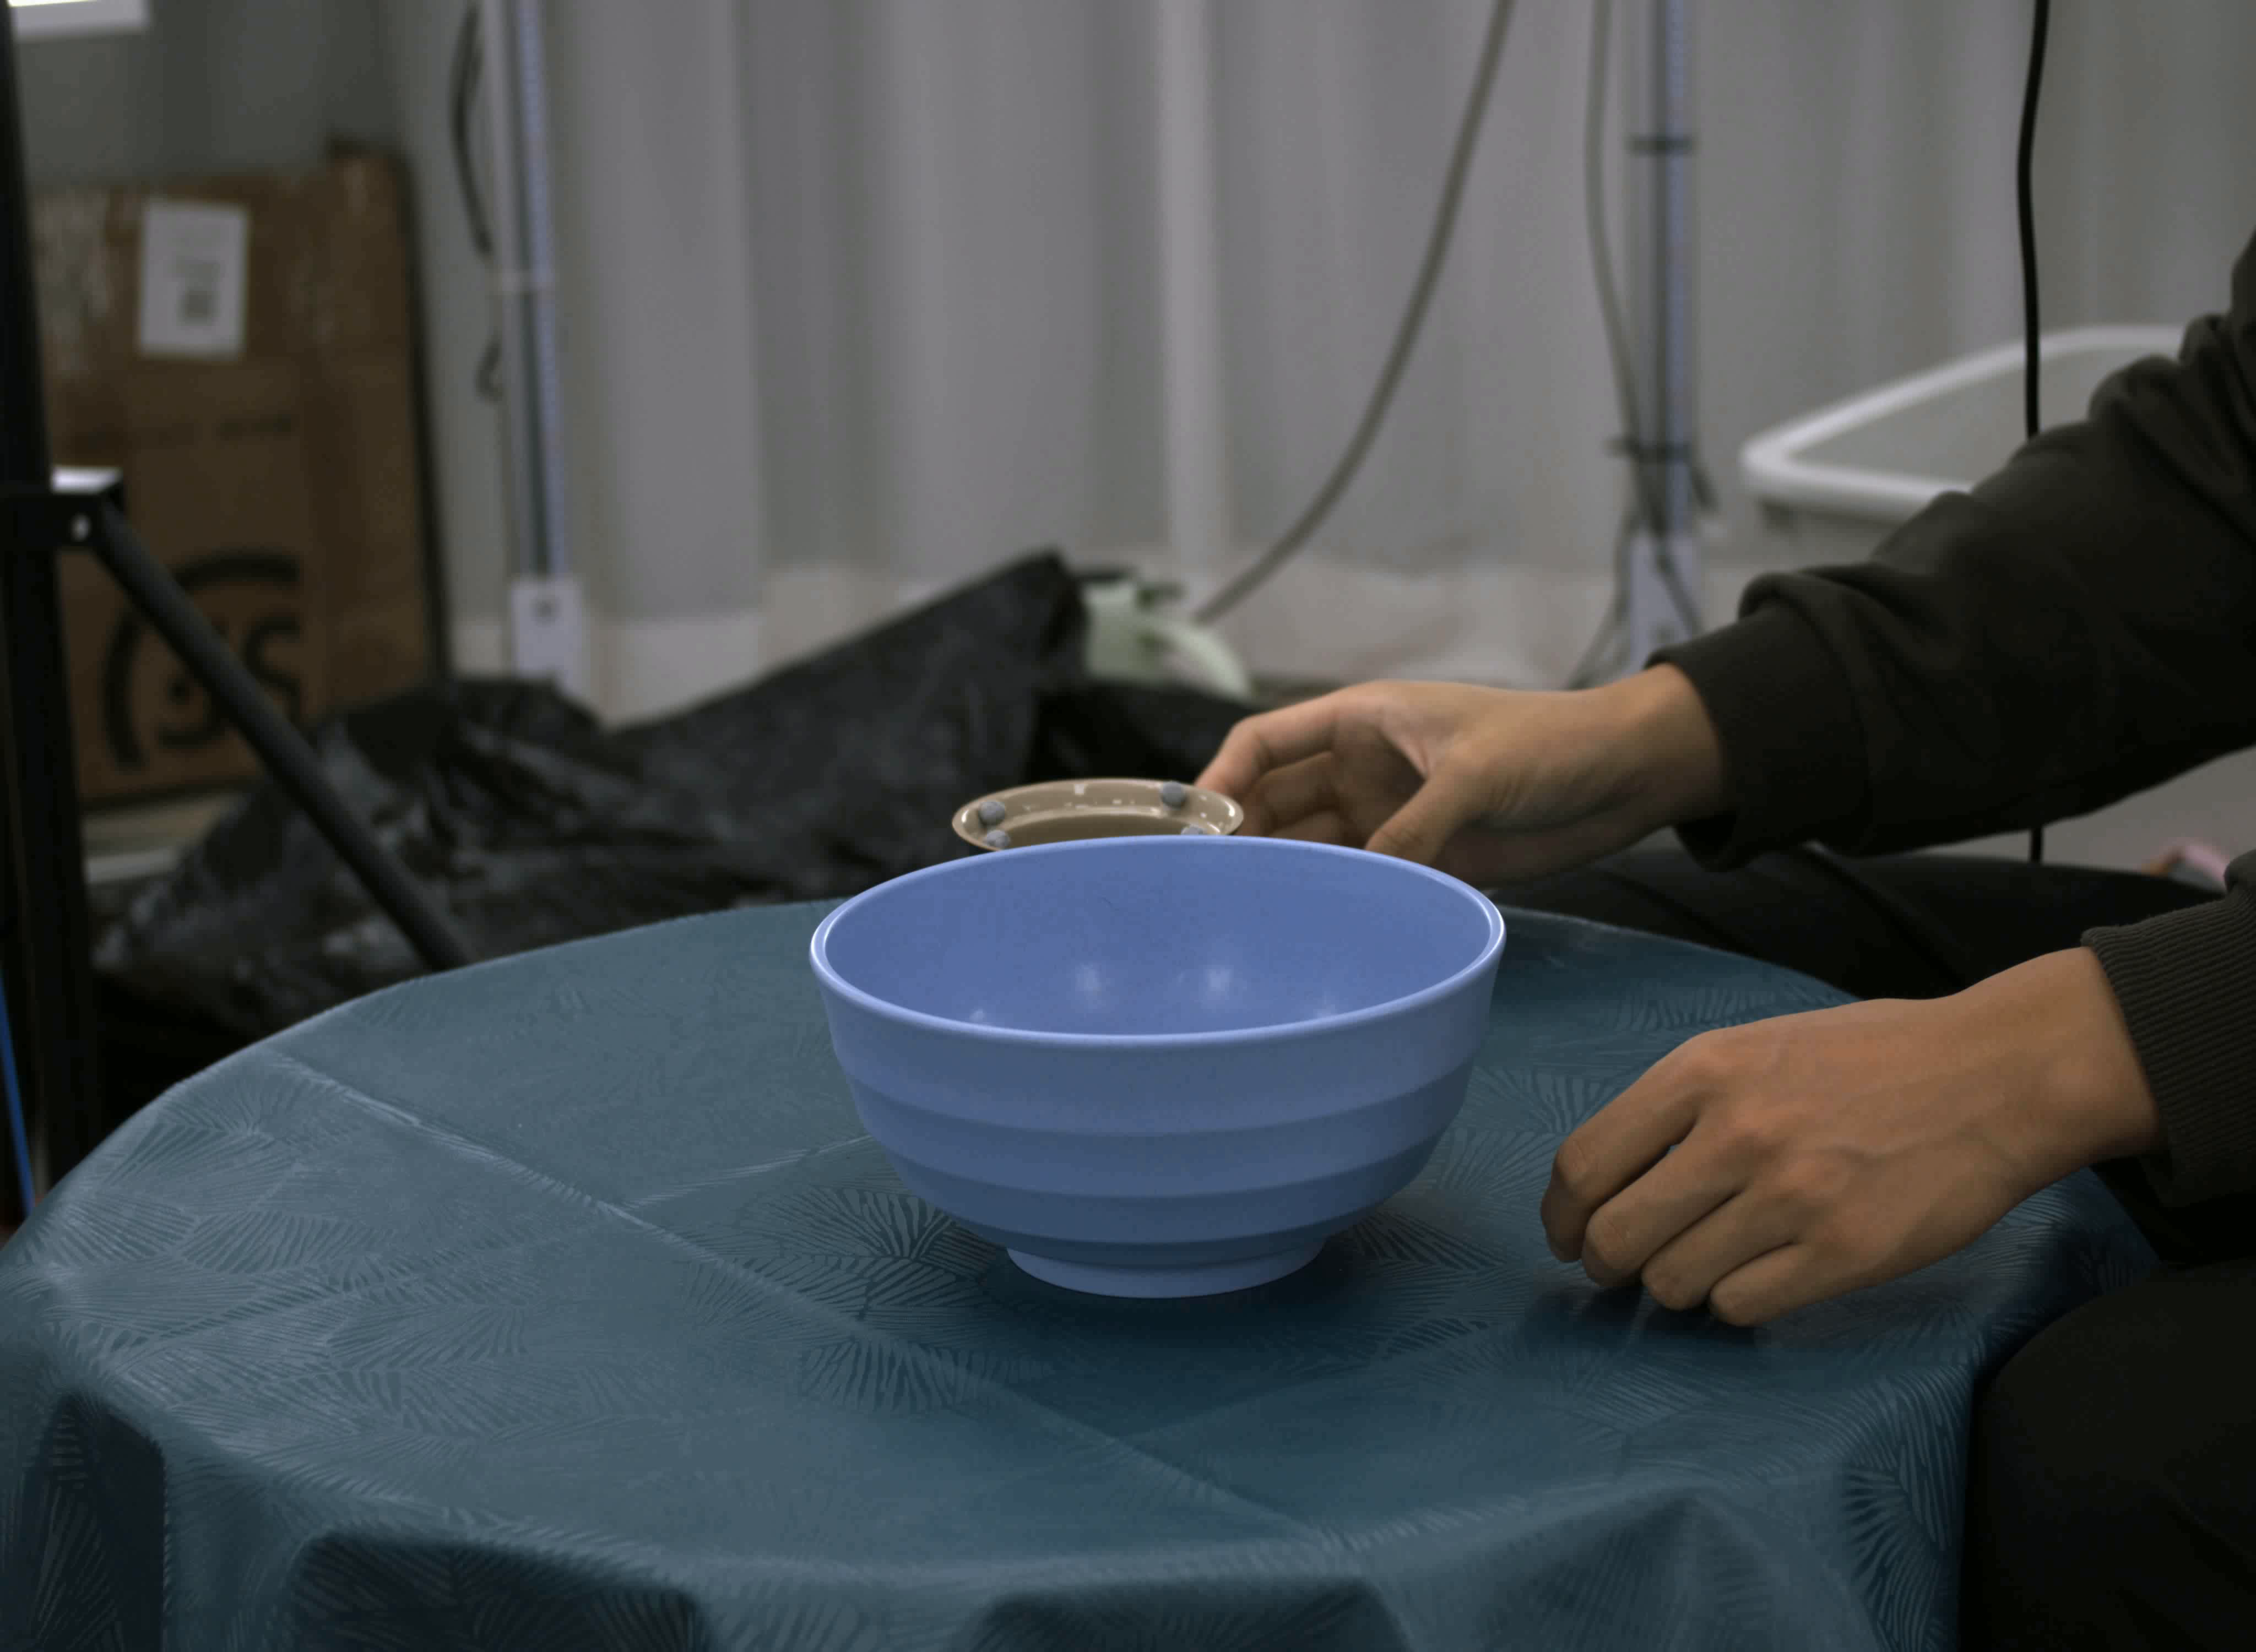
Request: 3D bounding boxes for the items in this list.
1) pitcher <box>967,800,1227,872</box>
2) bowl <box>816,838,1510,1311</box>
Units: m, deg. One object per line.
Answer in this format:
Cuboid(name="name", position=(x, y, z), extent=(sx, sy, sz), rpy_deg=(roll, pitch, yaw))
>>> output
Cuboid(name="pitcher", position=(-0.009, 0.033, 1.695), extent=(0.083, 0.071, 0.096), rpy_deg=(-2, 15, -4))
Cuboid(name="bowl", position=(0.009, 0.077, 1.509), extent=(0.195, 0.095, 0.197), rpy_deg=(0, 17, -1))
